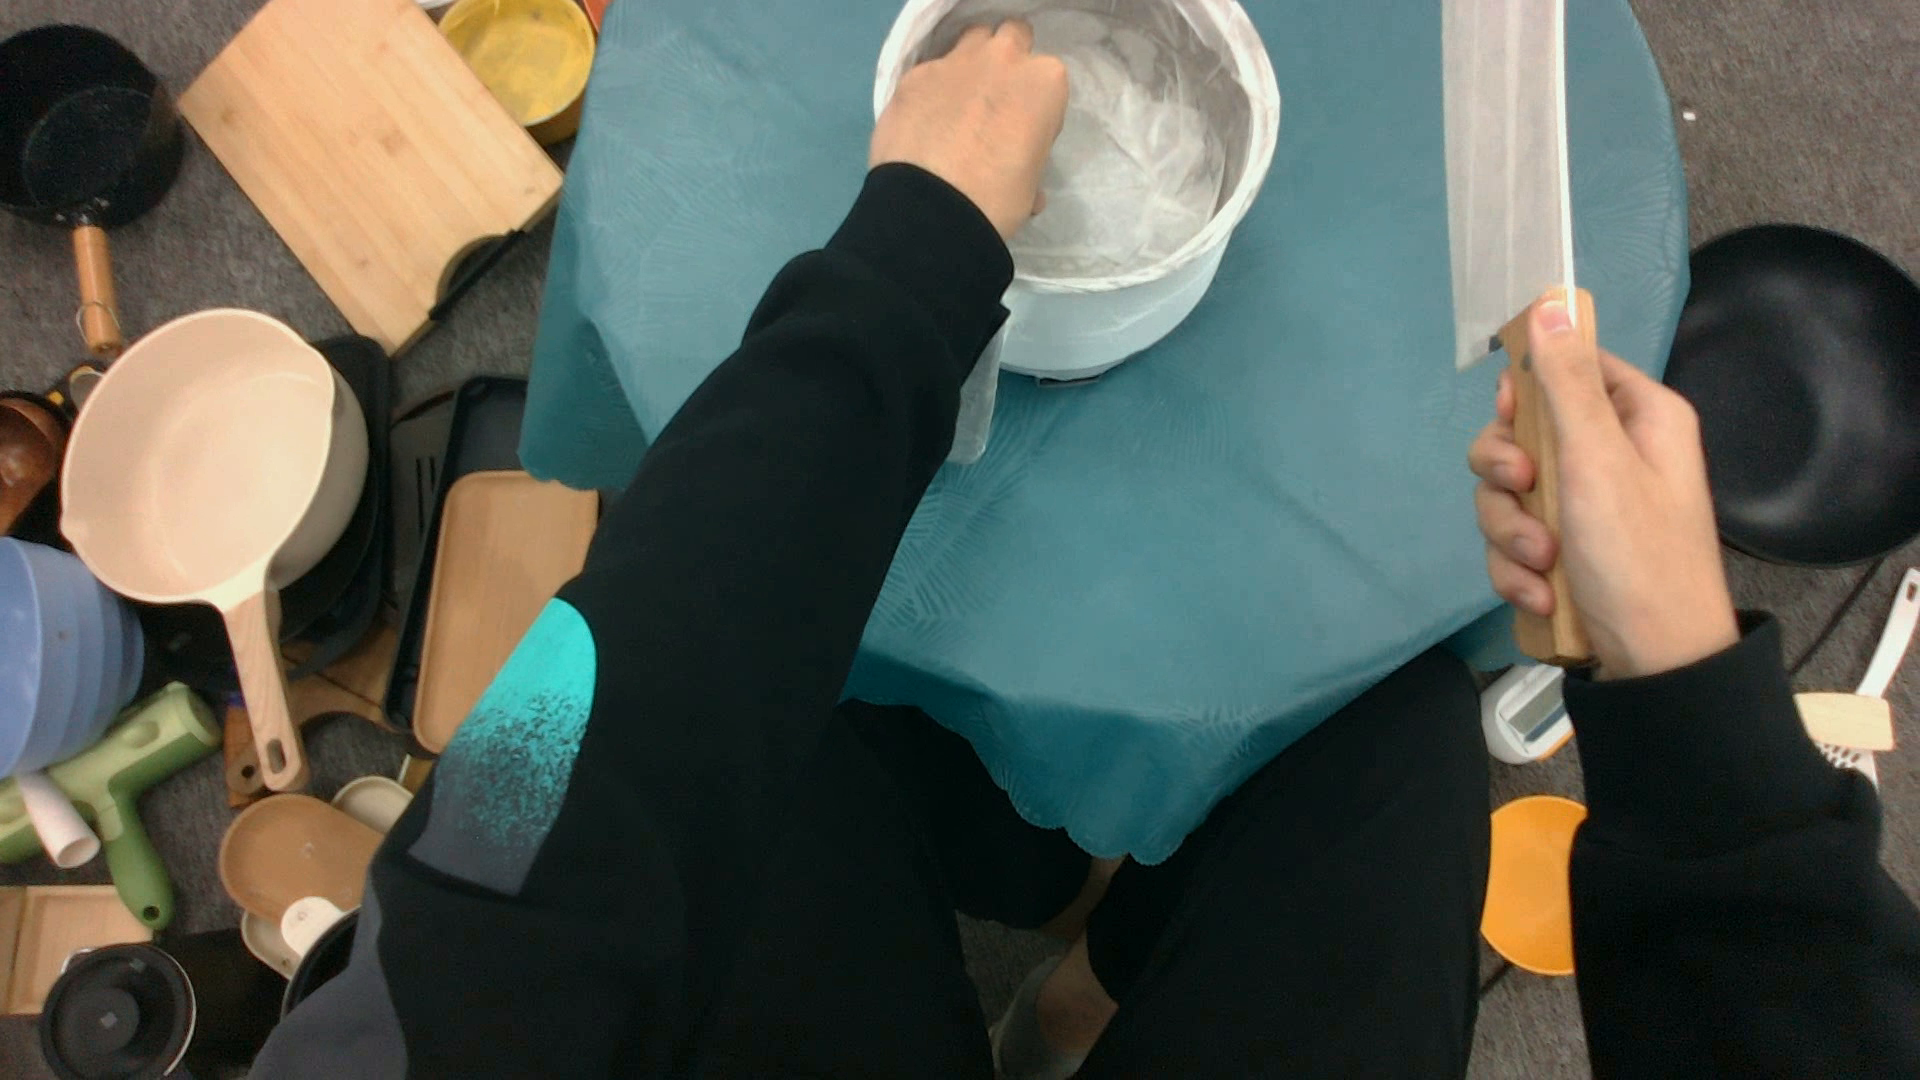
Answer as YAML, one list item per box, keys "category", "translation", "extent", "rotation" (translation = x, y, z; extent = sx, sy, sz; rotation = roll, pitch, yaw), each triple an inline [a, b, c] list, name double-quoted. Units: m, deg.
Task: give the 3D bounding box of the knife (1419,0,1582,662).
- category: "knife"
  translation: [0.198, -0.112, 0.507]
  extent: [0.022, 0.113, 0.316]
  rotation: [1, 78, -6]

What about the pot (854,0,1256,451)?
- category: "pot"
  translation: [0.029, -0.159, 0.657]
  extent: [0.179, 0.136, 0.234]
  rotation: [21, 77, 3]
